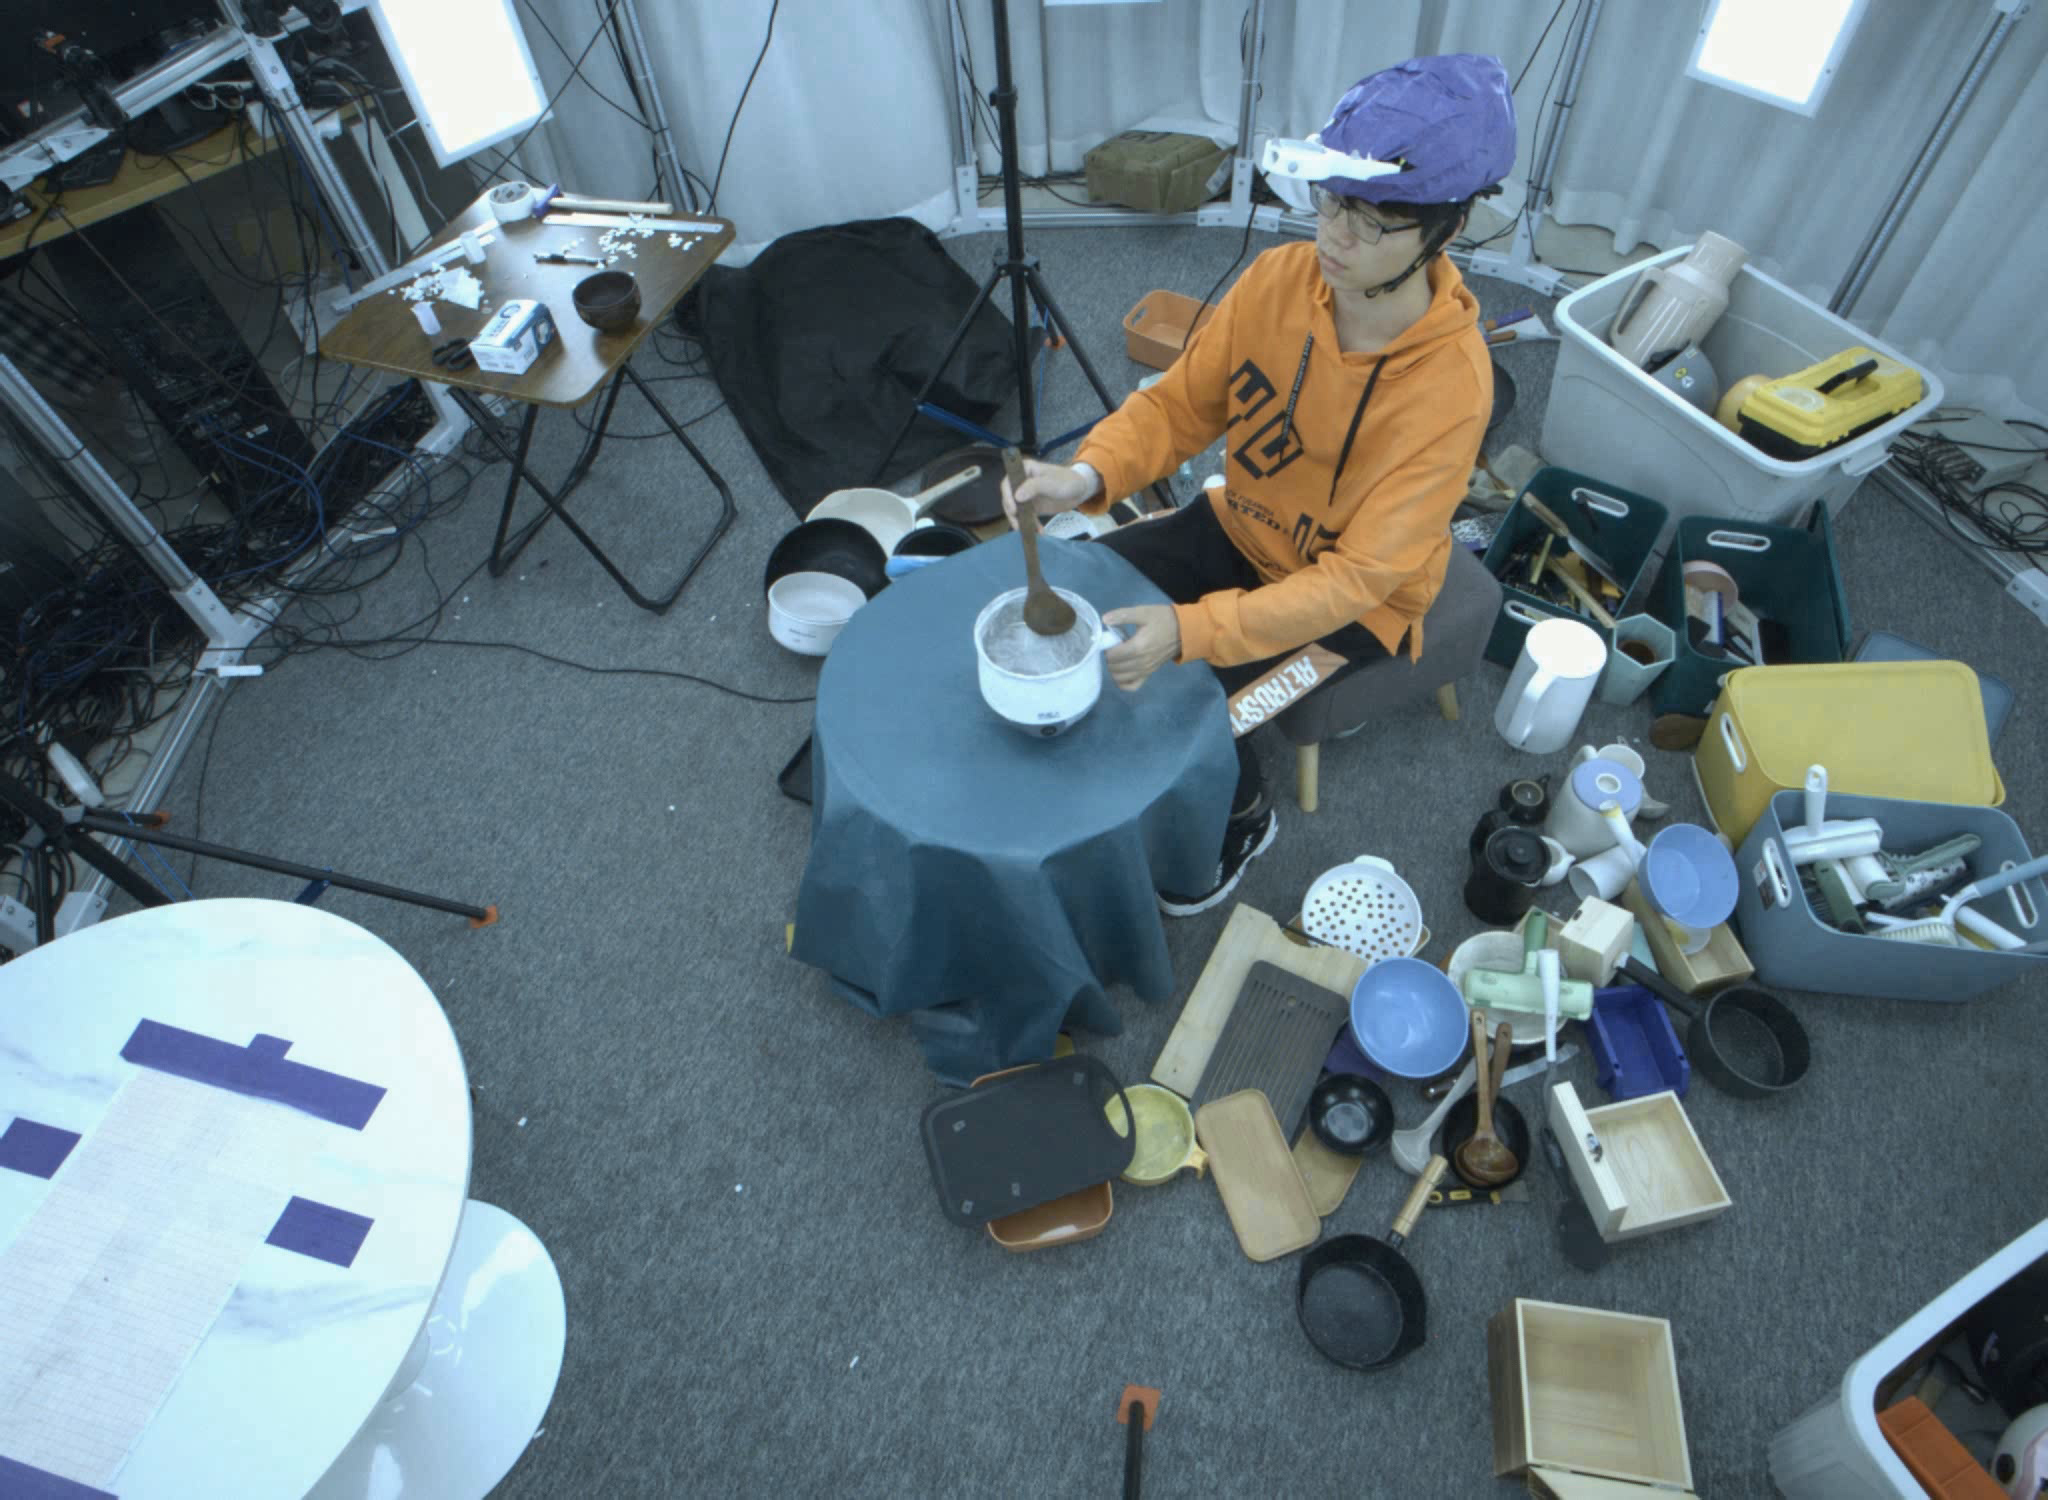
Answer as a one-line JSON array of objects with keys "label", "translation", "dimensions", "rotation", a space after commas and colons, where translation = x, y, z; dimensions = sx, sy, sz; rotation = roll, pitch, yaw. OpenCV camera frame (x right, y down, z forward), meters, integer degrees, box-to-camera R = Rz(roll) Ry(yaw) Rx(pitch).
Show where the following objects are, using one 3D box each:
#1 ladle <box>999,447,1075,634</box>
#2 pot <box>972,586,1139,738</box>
[{"label": "ladle", "translation": [0.011, -0.293, 1.680], "dimensions": [0.077, 0.070, 0.274], "rotation": [-12, 92, -23]}, {"label": "pot", "translation": [0.047, -0.129, 1.747], "dimensions": [0.234, 0.138, 0.176], "rotation": [-9, 54, -5]}]
